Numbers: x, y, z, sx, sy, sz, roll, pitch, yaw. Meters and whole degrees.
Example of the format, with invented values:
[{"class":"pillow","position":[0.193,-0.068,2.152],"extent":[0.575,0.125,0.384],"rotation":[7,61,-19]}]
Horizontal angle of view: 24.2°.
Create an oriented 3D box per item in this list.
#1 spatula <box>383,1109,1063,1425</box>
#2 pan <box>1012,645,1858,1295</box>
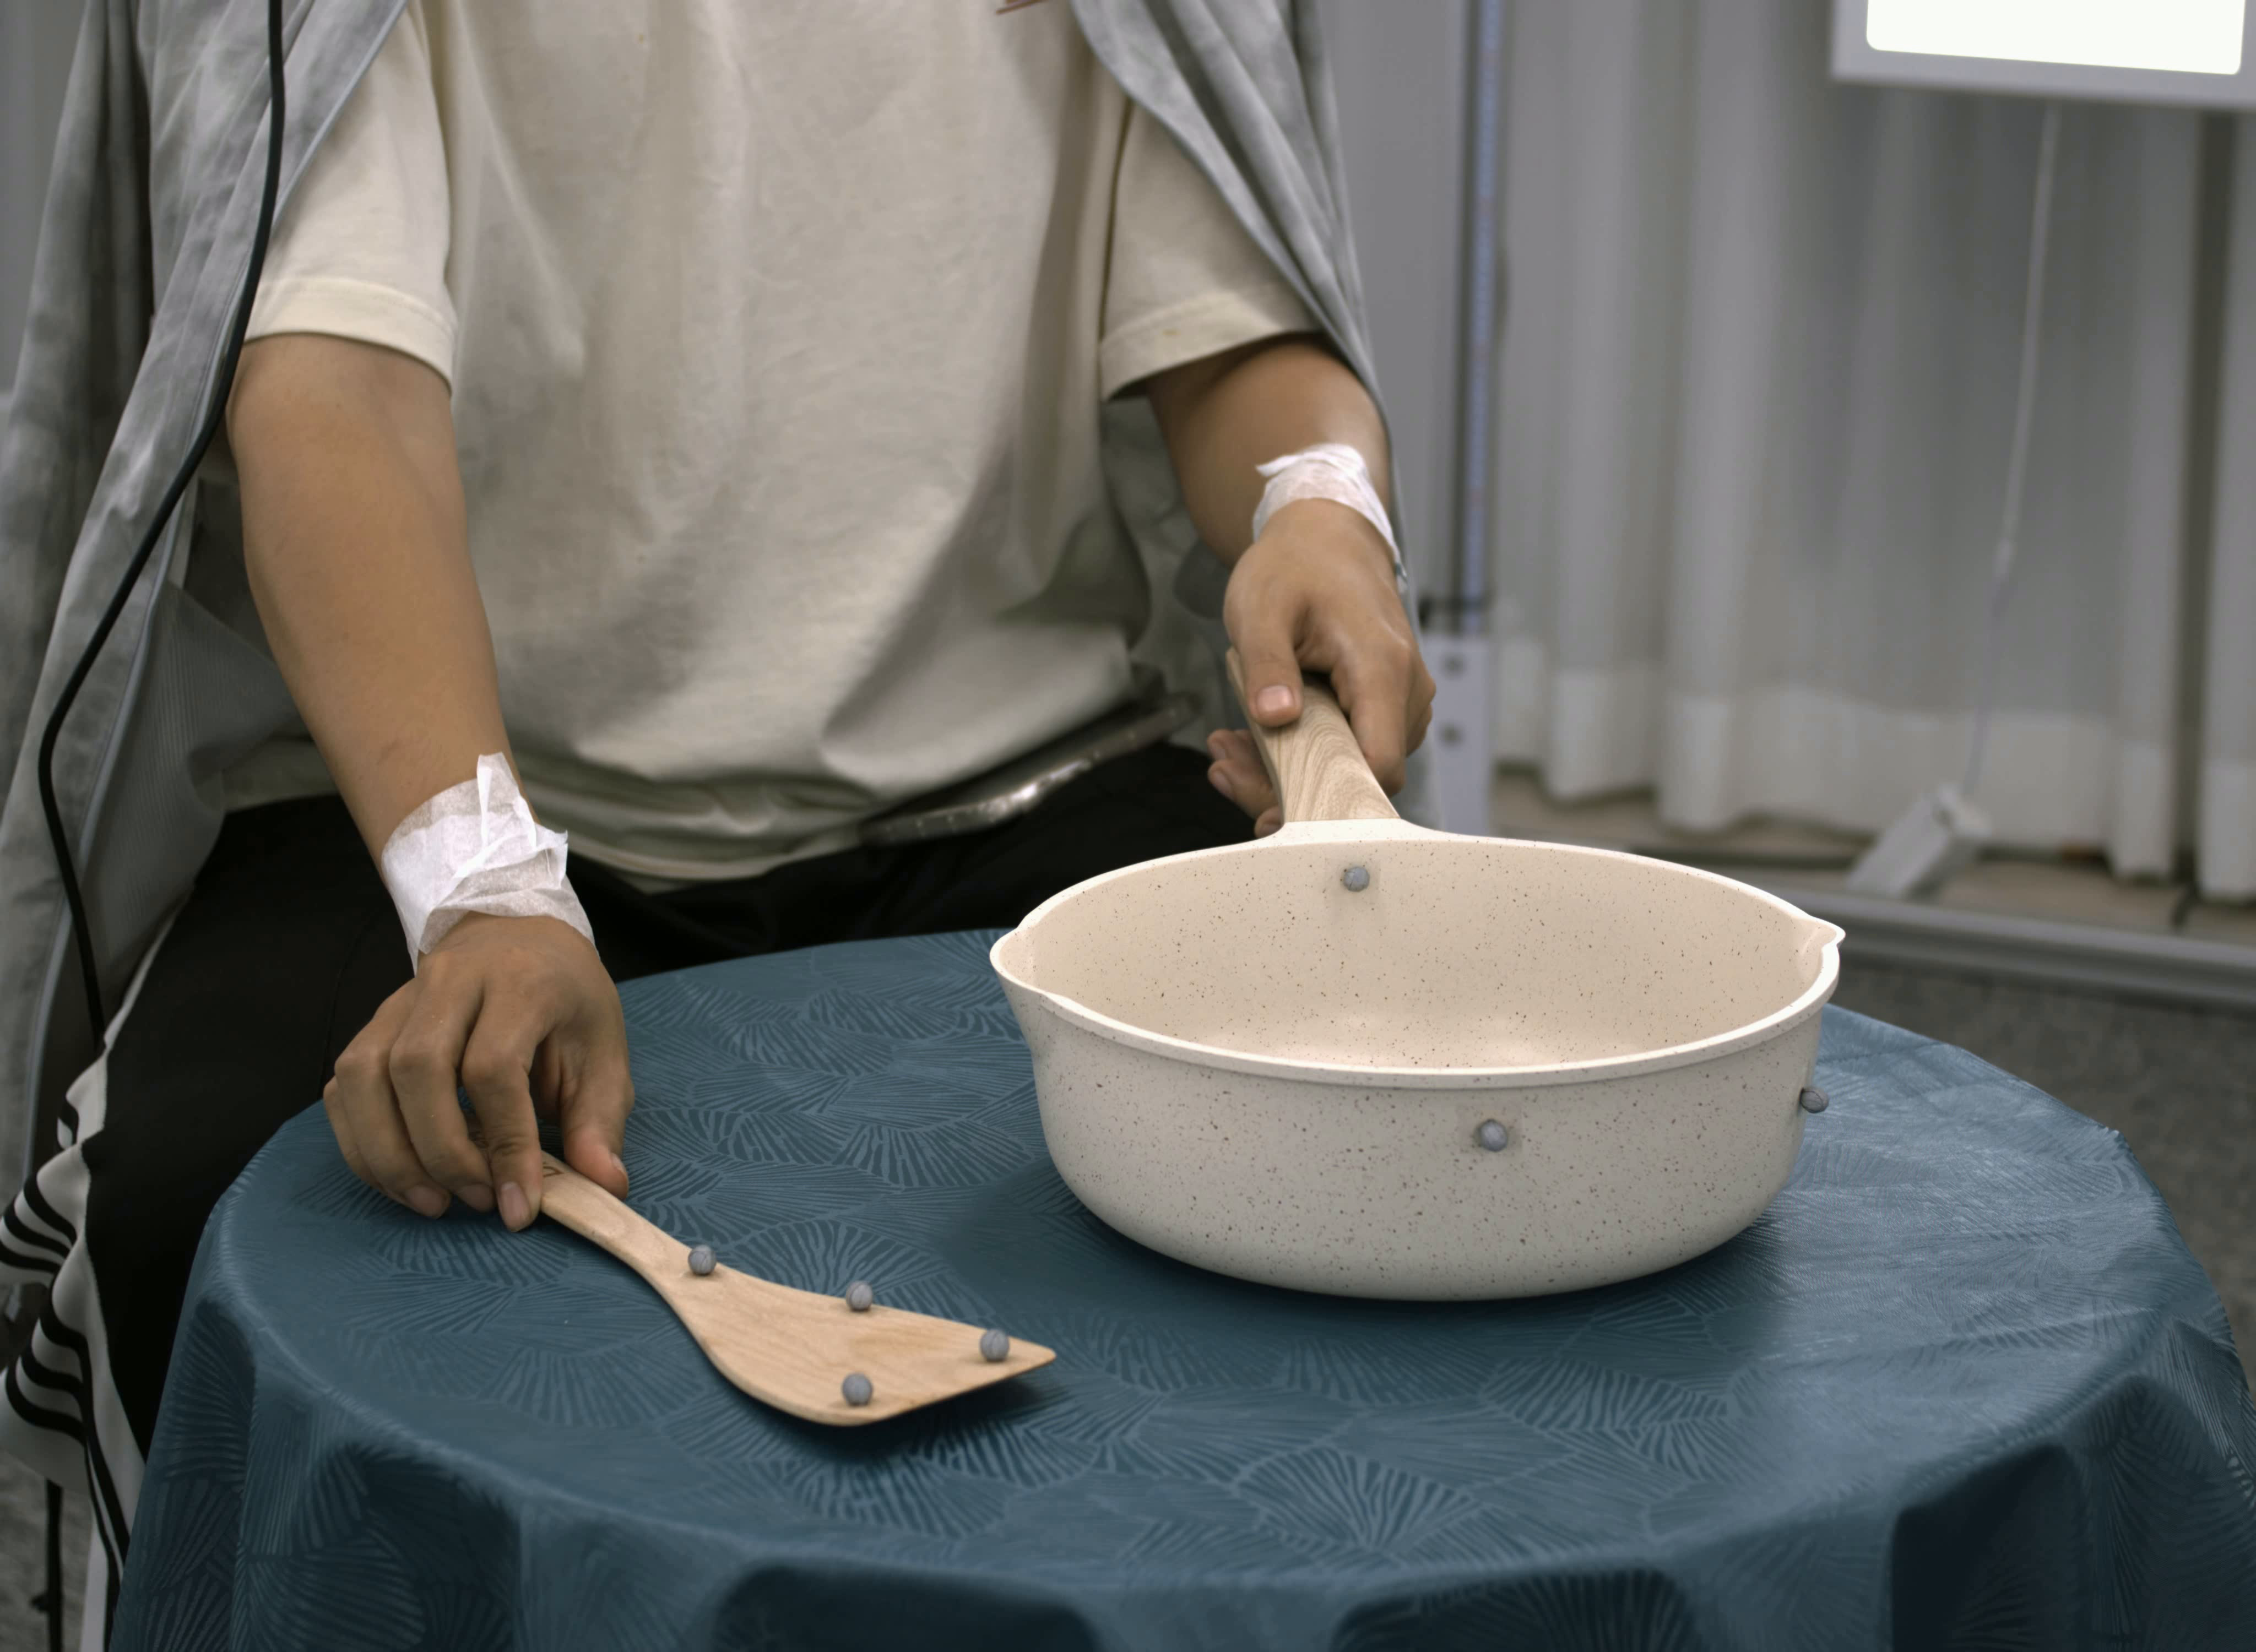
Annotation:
[{"class":"spatula","position":[-0.134,0.124,1.547],"extent":[0.080,0.016,0.323],"rotation":[-10,19,-35]},{"class":"pan","position":[0.082,0.041,1.696],"extent":[0.263,0.103,0.431],"rotation":[-3,16,-8]}]
